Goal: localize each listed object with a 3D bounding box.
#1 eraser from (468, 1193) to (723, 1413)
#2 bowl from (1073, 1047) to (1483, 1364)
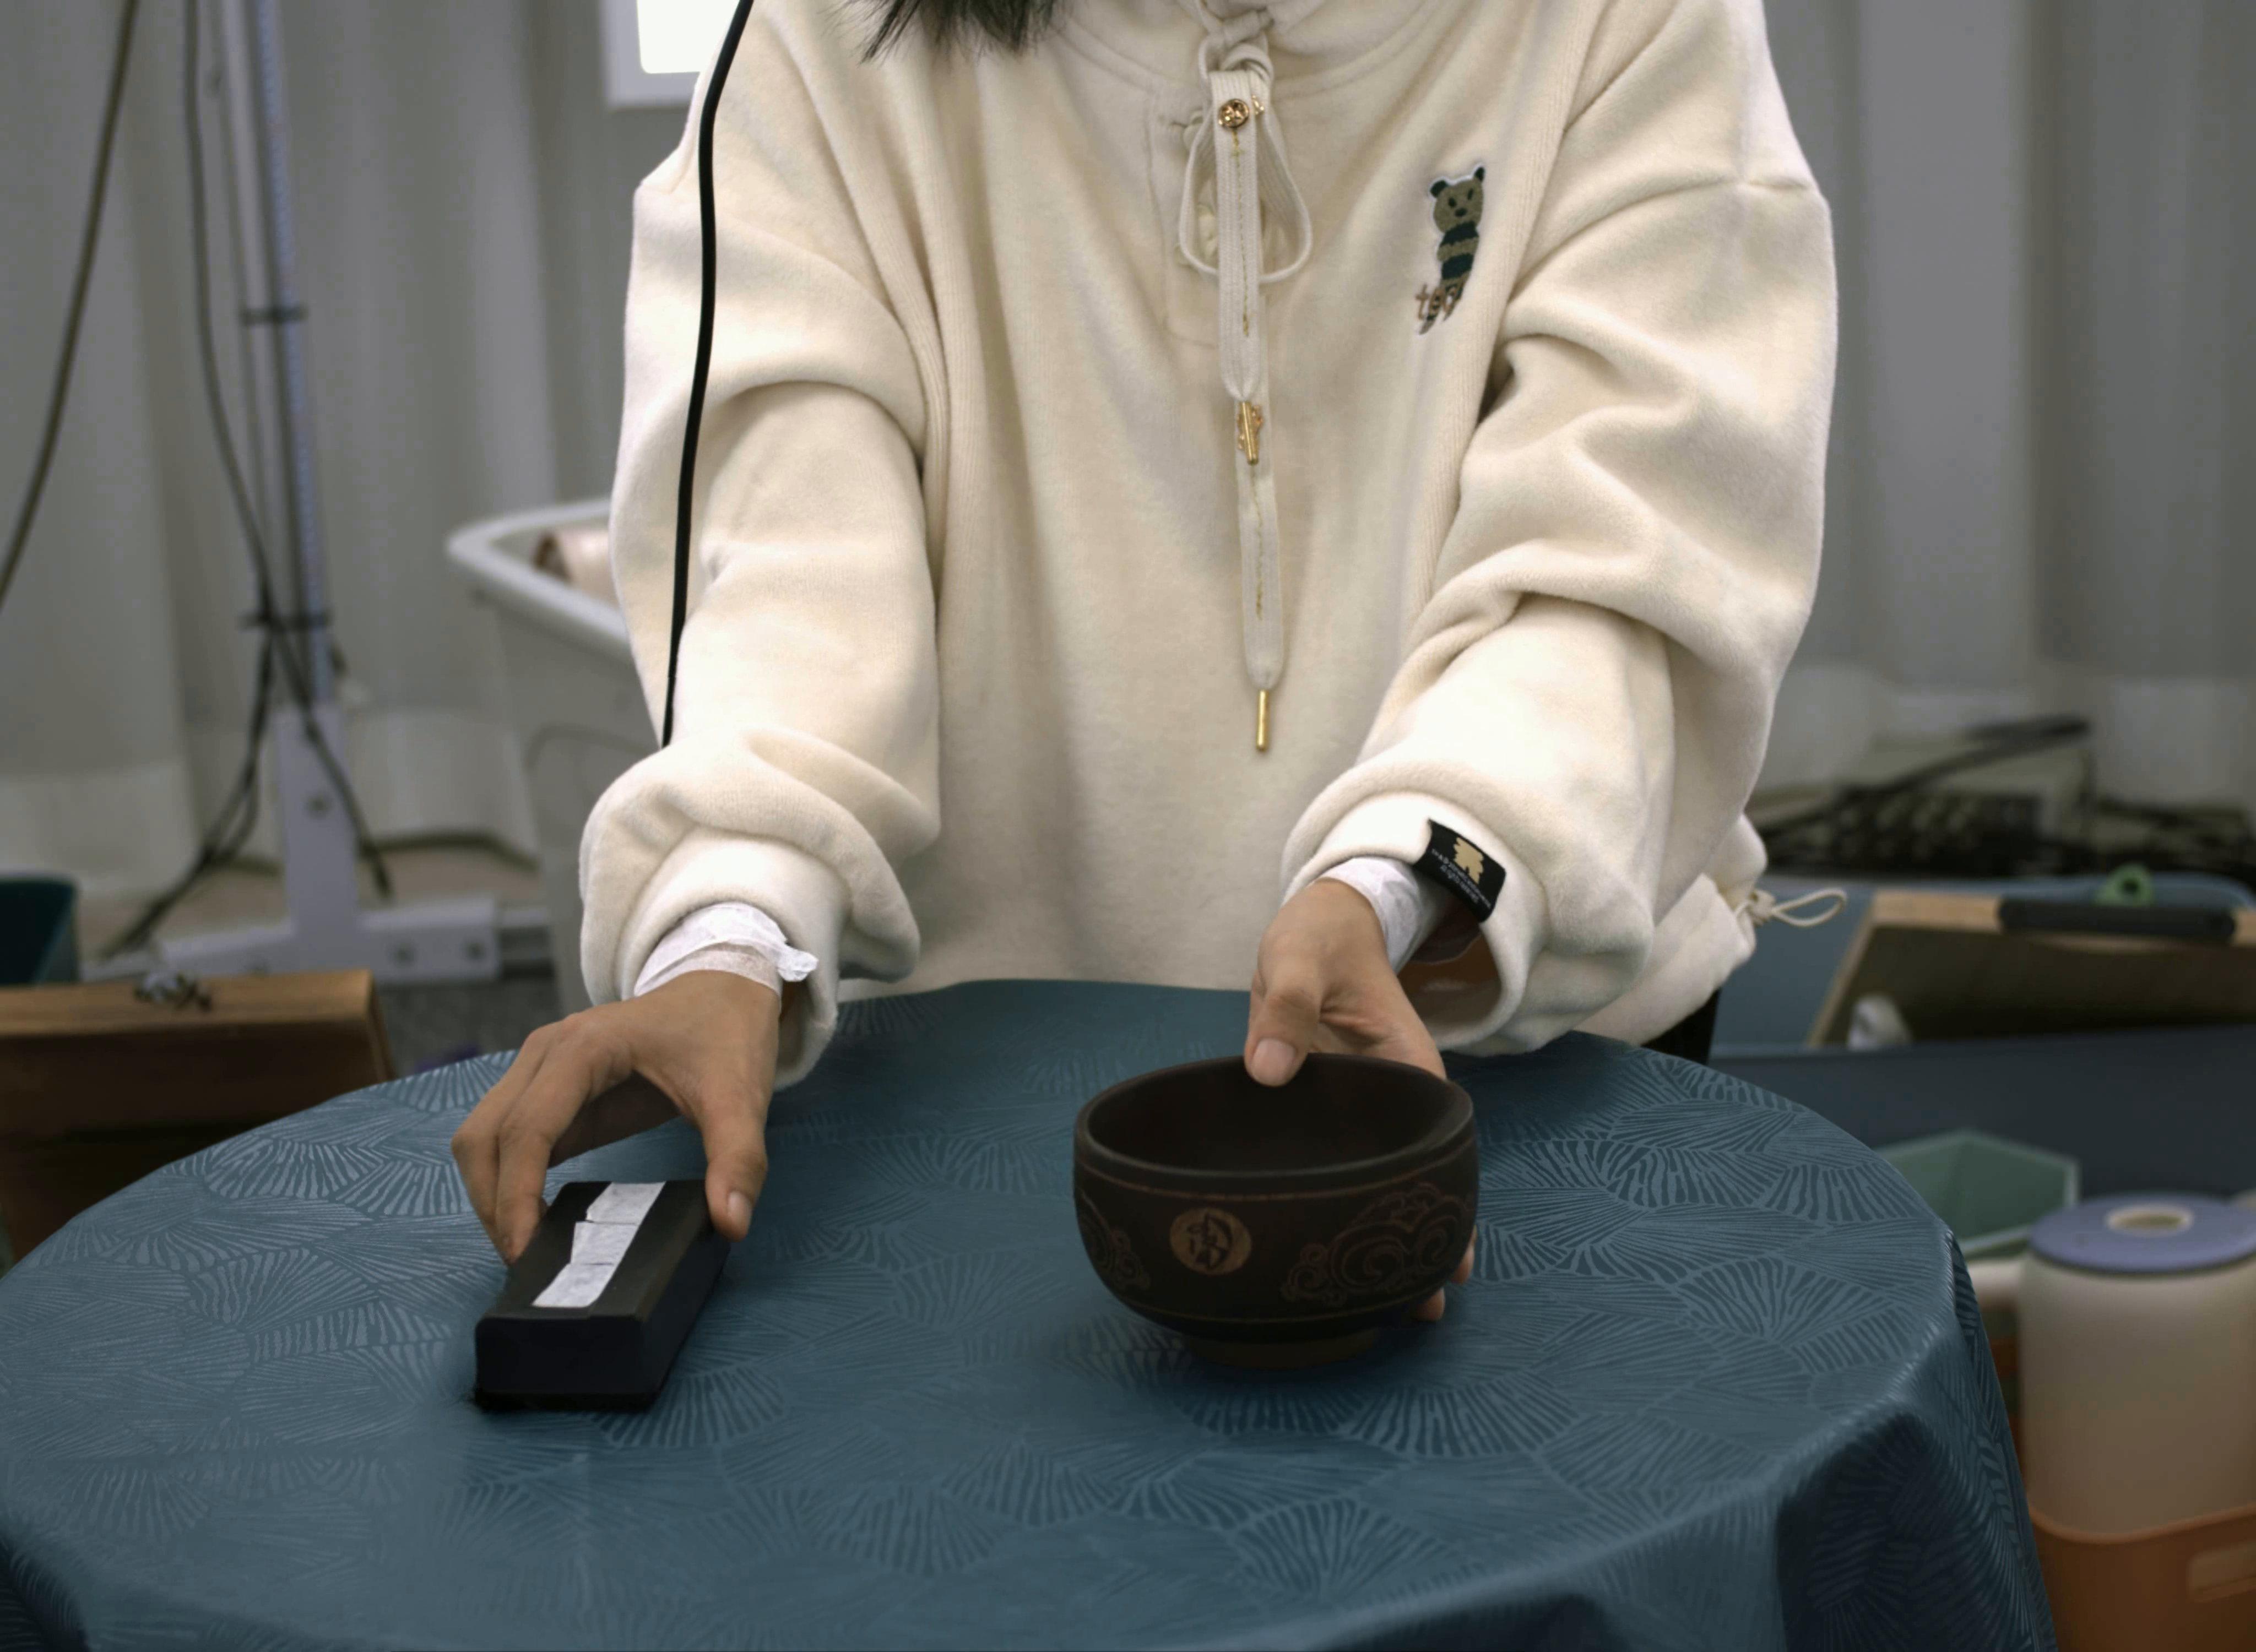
[{"bbox_3d":[-0.154,0.139,1.602,0.053,0.030,0.126,0,13,6],"label":"eraser"},{"bbox_3d":[0.044,0.113,1.572,0.117,0.069,0.119,-3,13,0],"label":"bowl"}]
